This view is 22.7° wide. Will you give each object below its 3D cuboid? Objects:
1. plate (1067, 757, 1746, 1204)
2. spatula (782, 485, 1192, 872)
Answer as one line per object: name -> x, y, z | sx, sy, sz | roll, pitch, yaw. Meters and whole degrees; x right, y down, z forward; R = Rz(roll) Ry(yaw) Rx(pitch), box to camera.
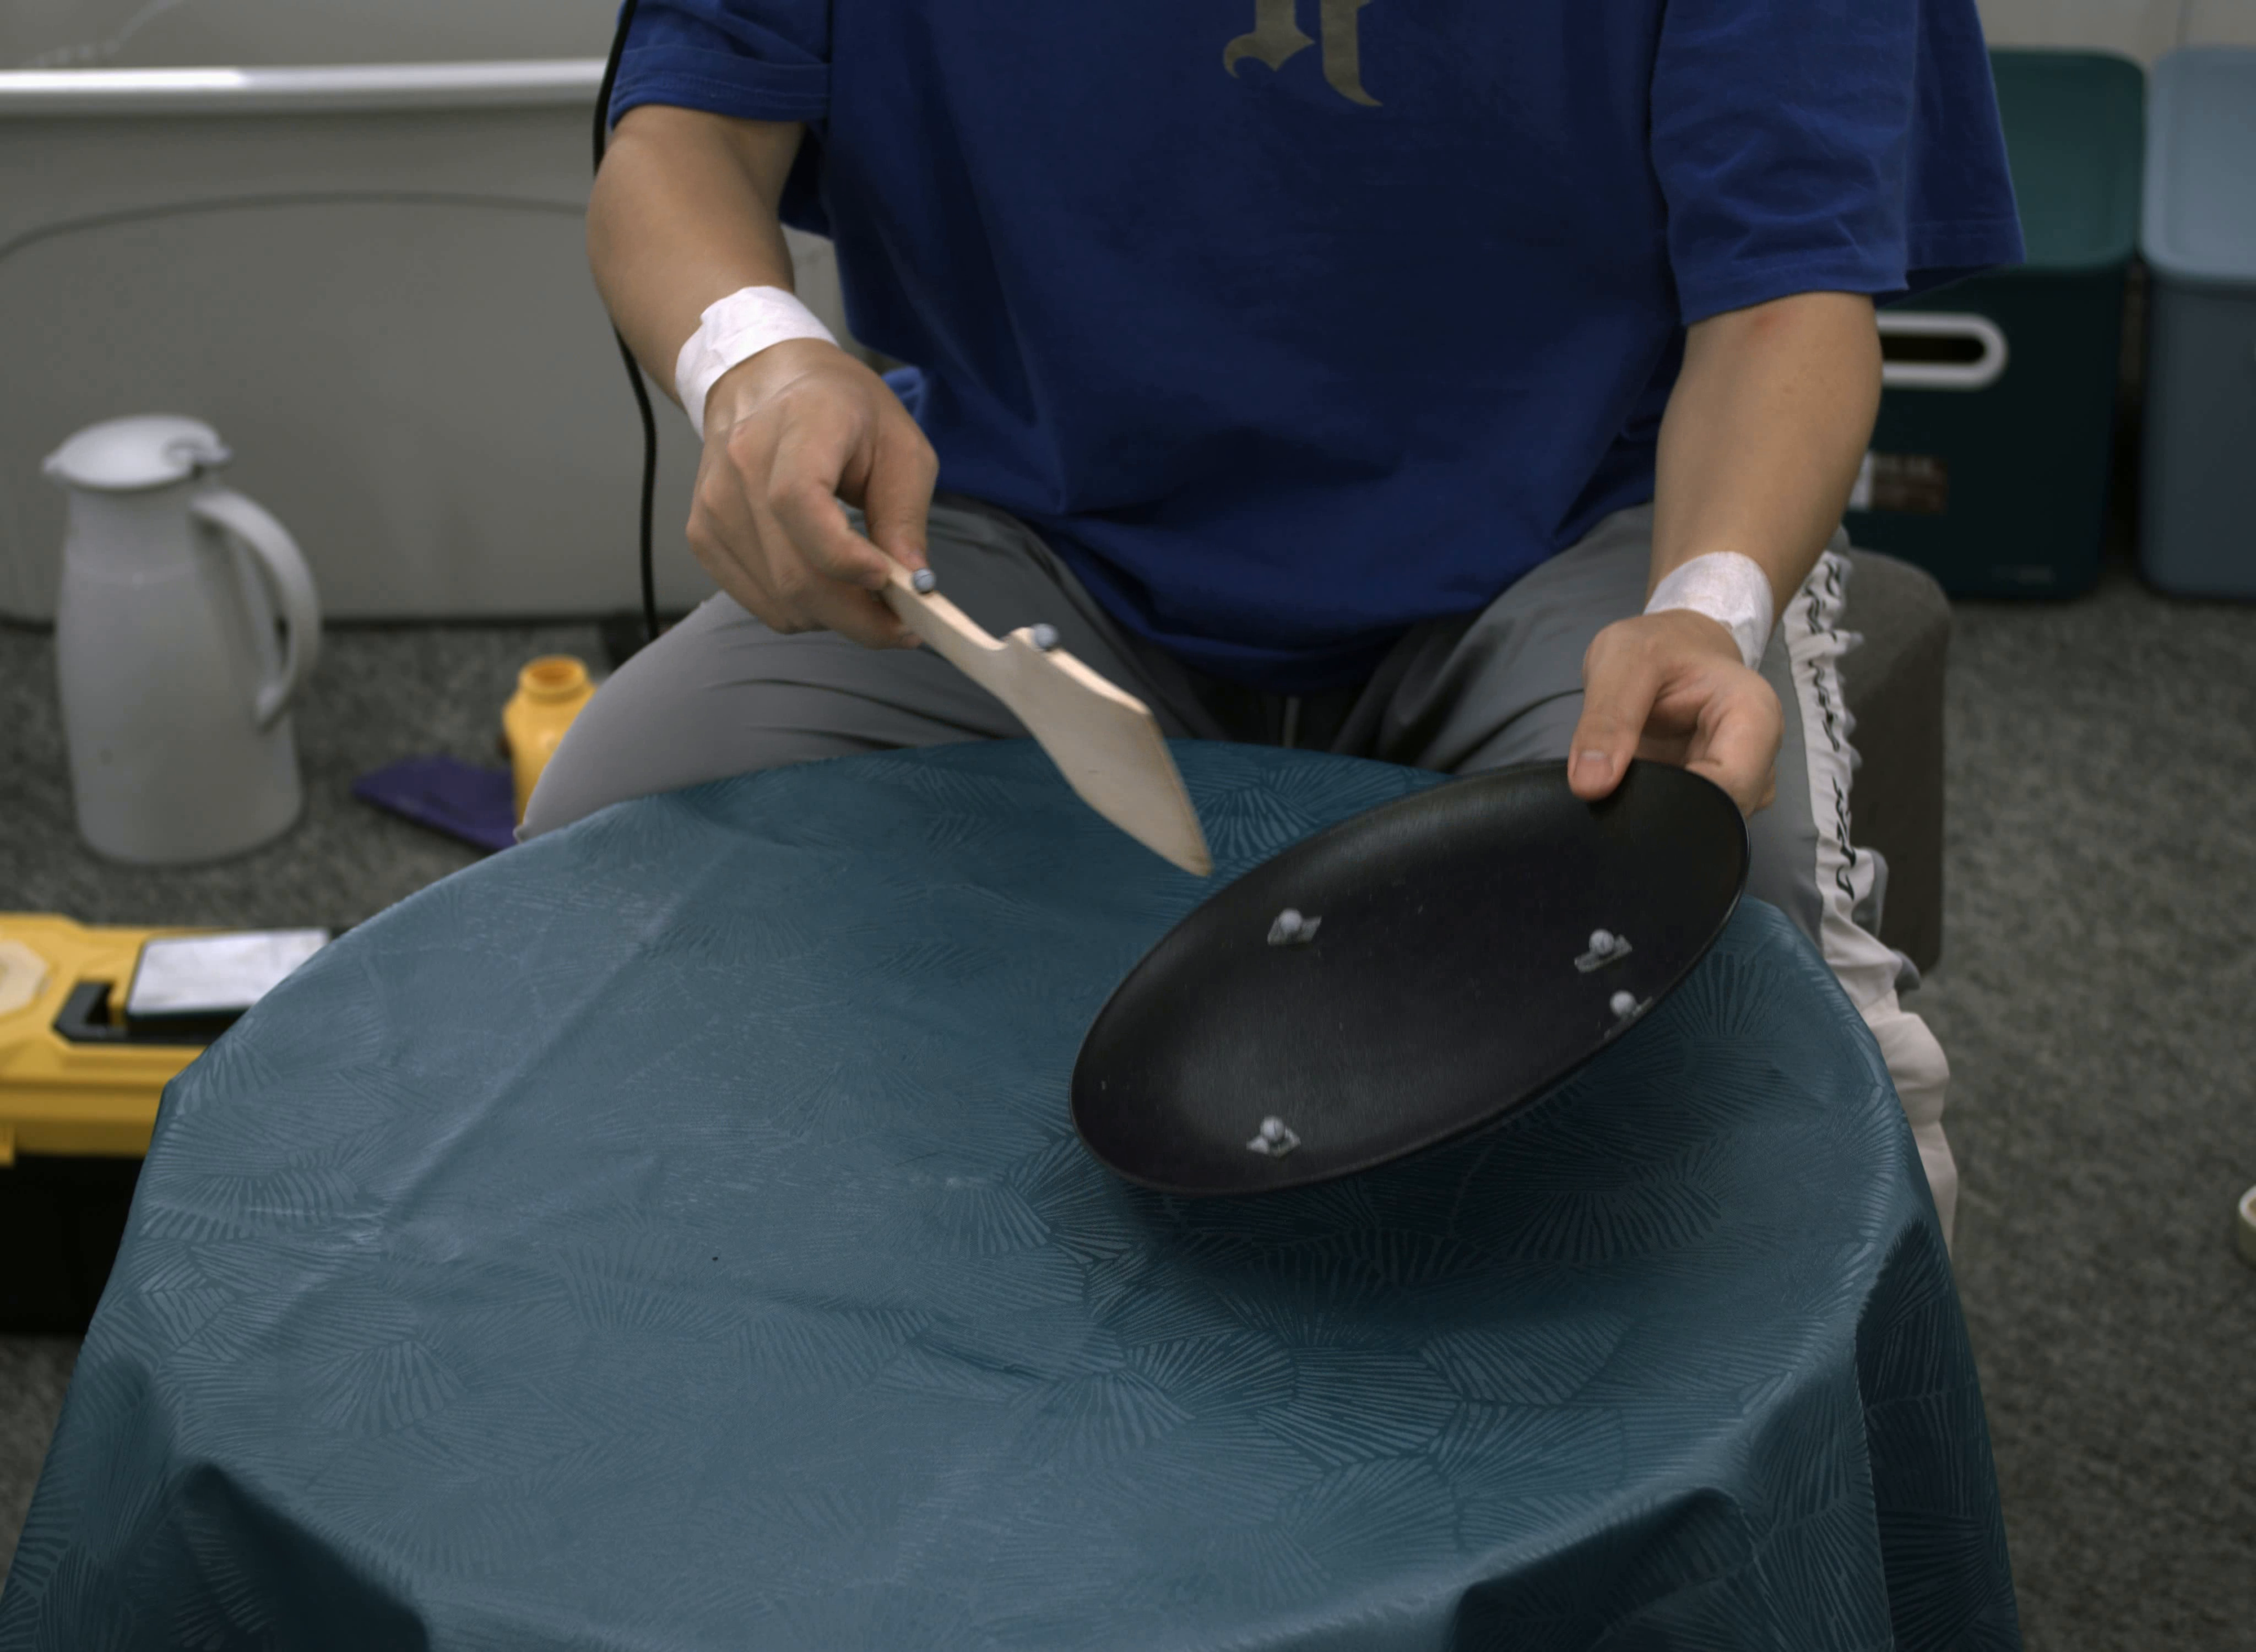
plate -> 0.094, 0.055, 1.851 | 0.242, 0.023, 0.248 | -22, 24, 10
spatula -> -0.057, -0.062, 1.899 | 0.011, 0.071, 0.294 | -32, 32, -12
